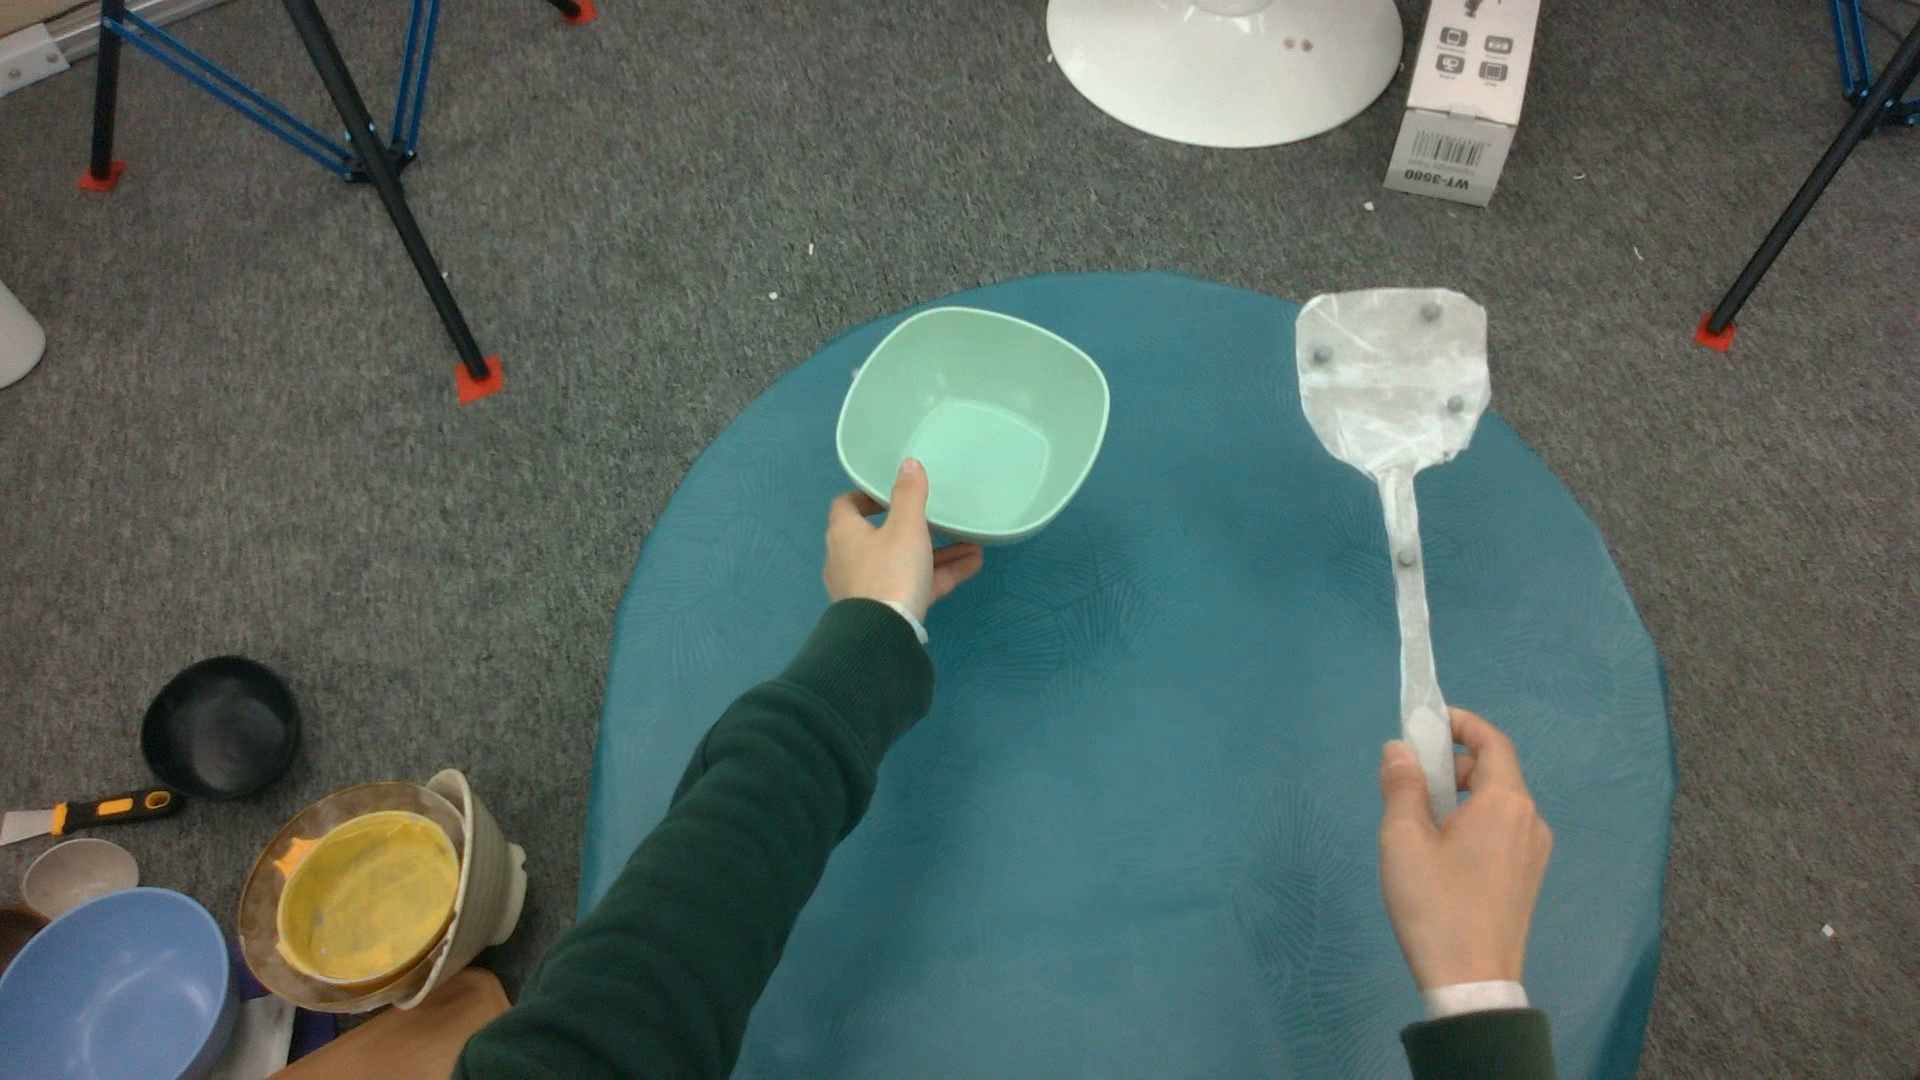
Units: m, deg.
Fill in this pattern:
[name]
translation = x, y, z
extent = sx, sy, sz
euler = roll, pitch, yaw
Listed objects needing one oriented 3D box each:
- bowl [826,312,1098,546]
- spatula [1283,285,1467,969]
[bowl]
translation = 0.002, -0.053, 0.766
extent = 0.151, 0.058, 0.152
euler = -1, 60, 1
[spatula]
translation = 0.209, 0.023, 0.677
extent = 0.098, 0.044, 0.366
euler = 4, 57, 6
